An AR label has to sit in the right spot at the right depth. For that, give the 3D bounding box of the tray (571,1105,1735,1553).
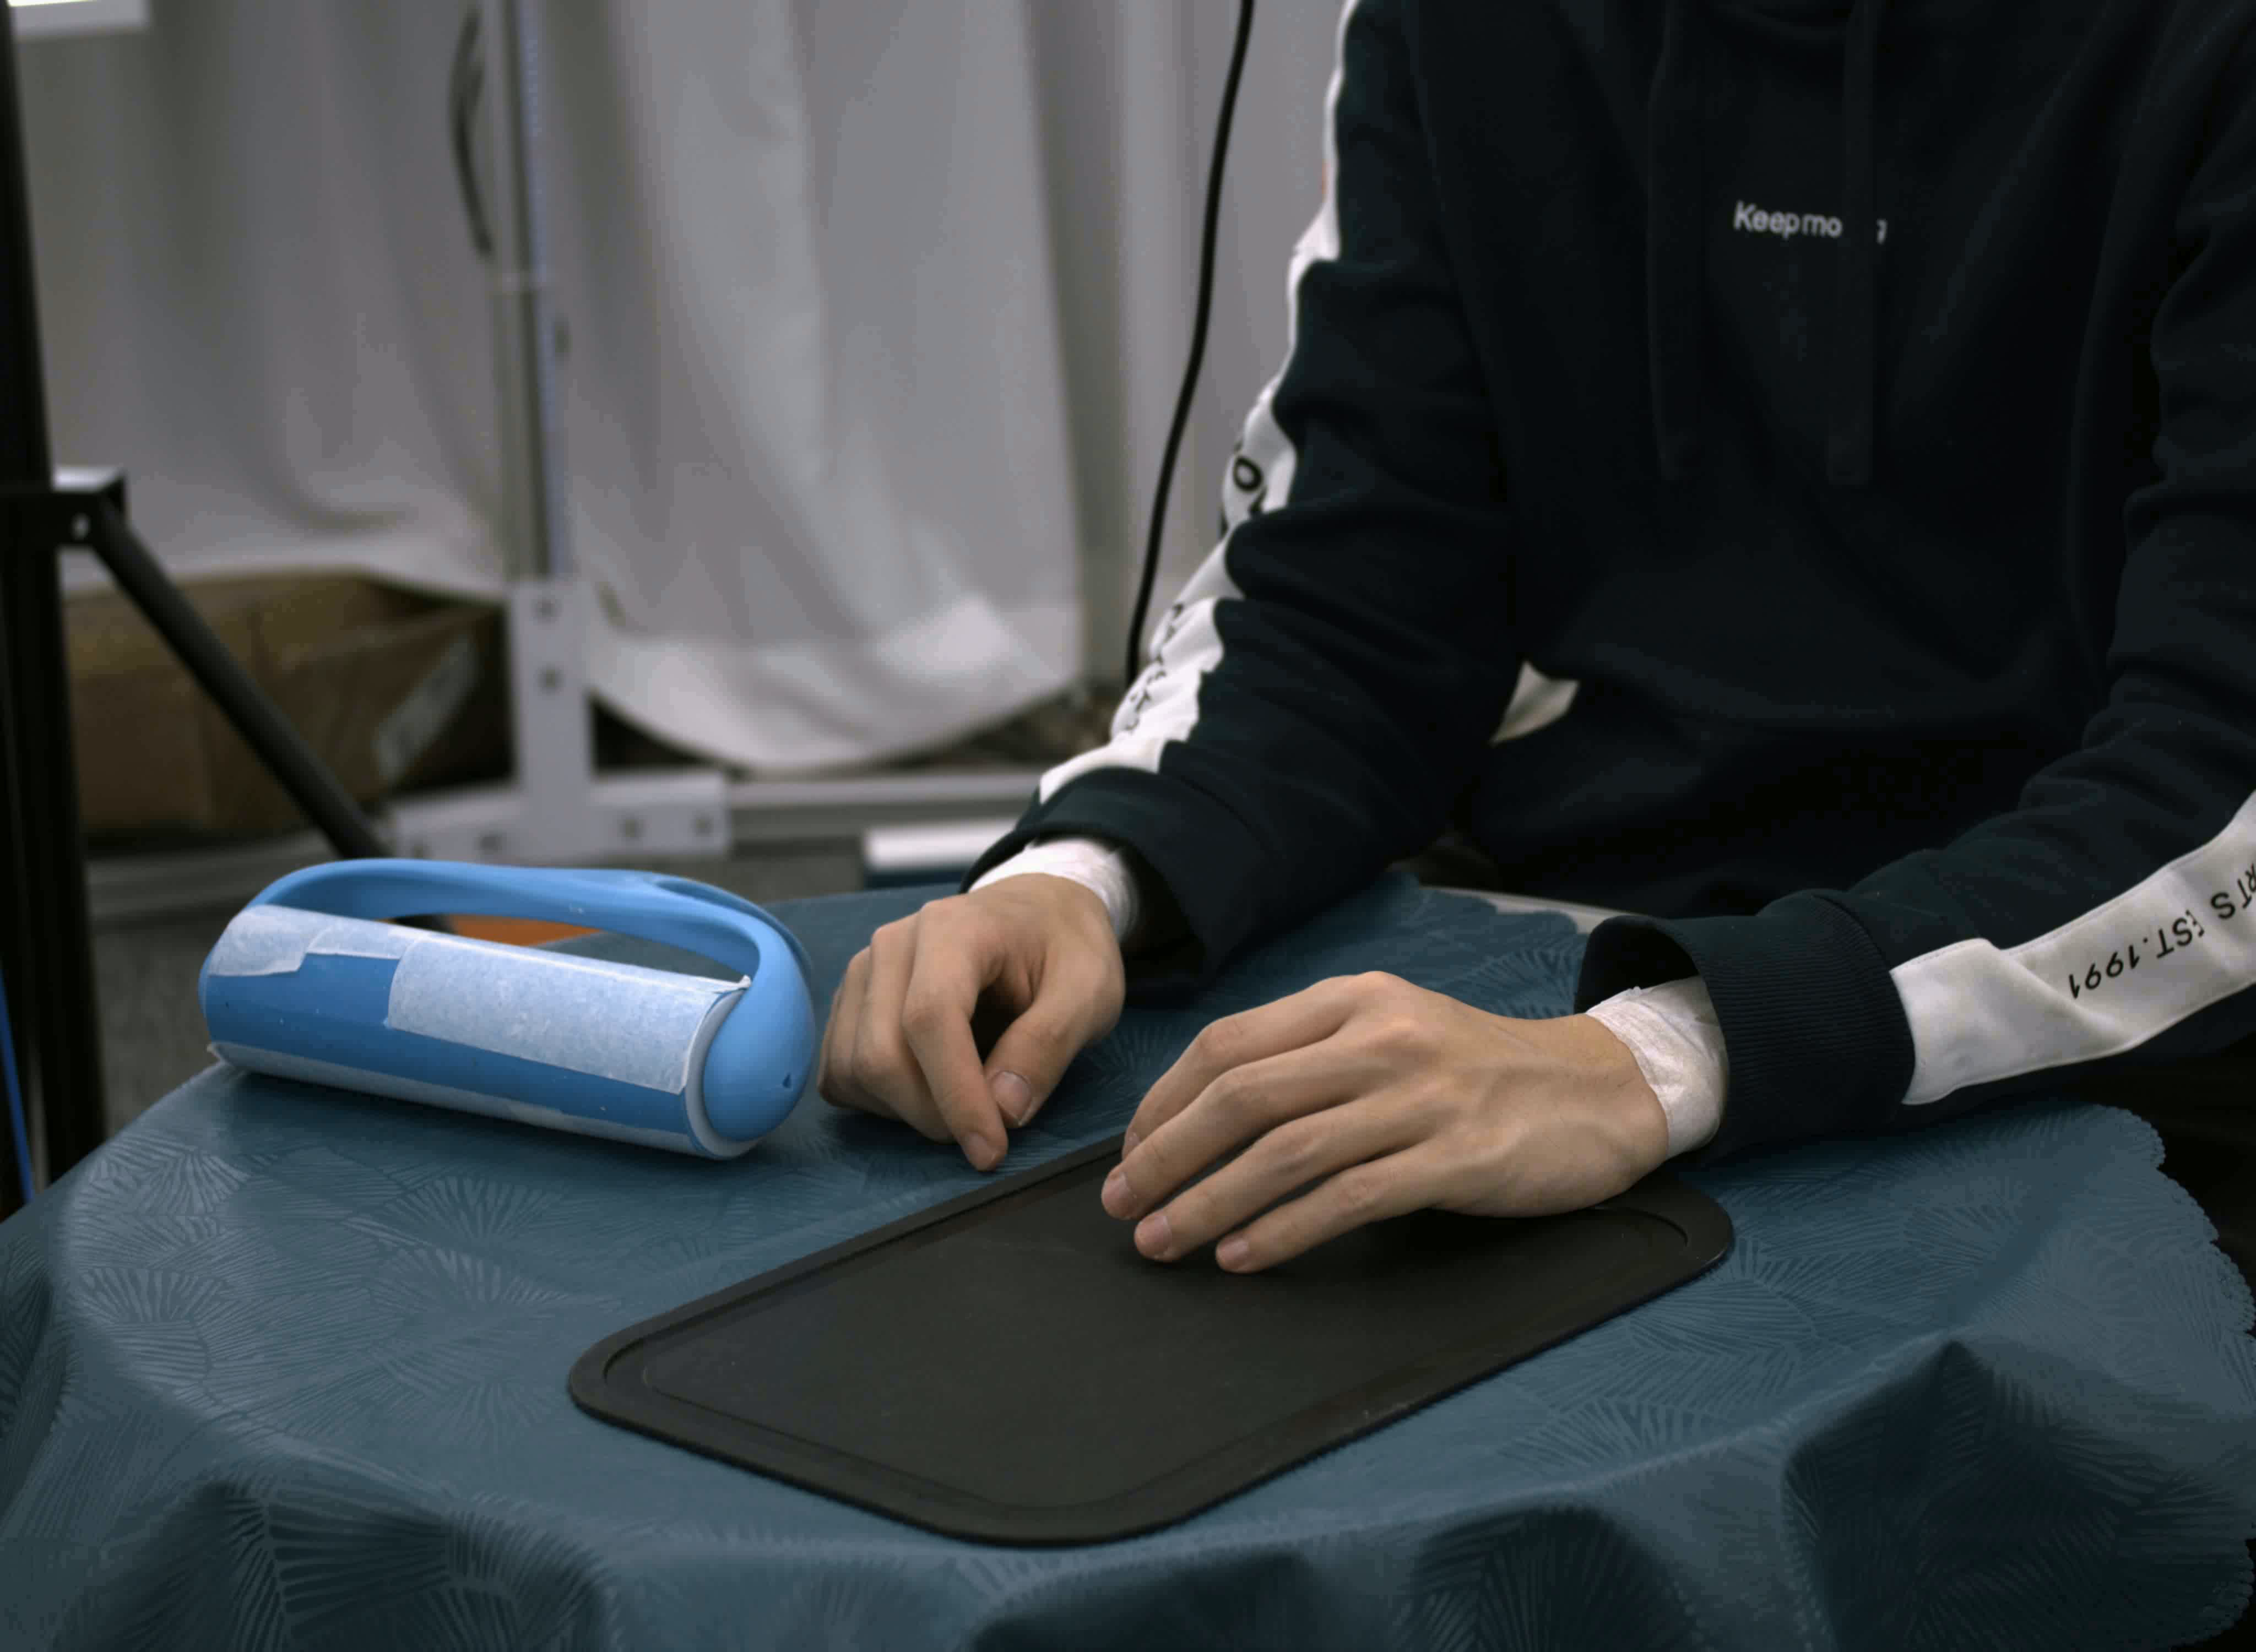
[{"bbox_3d":[0.016,0.129,1.469,0.216,0.010,0.318,12,22,43],"label":"tray"}]

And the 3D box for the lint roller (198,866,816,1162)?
[{"bbox_3d":[-0.166,0.047,1.699,0.233,0.068,0.177,5,19,32],"label":"lint roller"}]
